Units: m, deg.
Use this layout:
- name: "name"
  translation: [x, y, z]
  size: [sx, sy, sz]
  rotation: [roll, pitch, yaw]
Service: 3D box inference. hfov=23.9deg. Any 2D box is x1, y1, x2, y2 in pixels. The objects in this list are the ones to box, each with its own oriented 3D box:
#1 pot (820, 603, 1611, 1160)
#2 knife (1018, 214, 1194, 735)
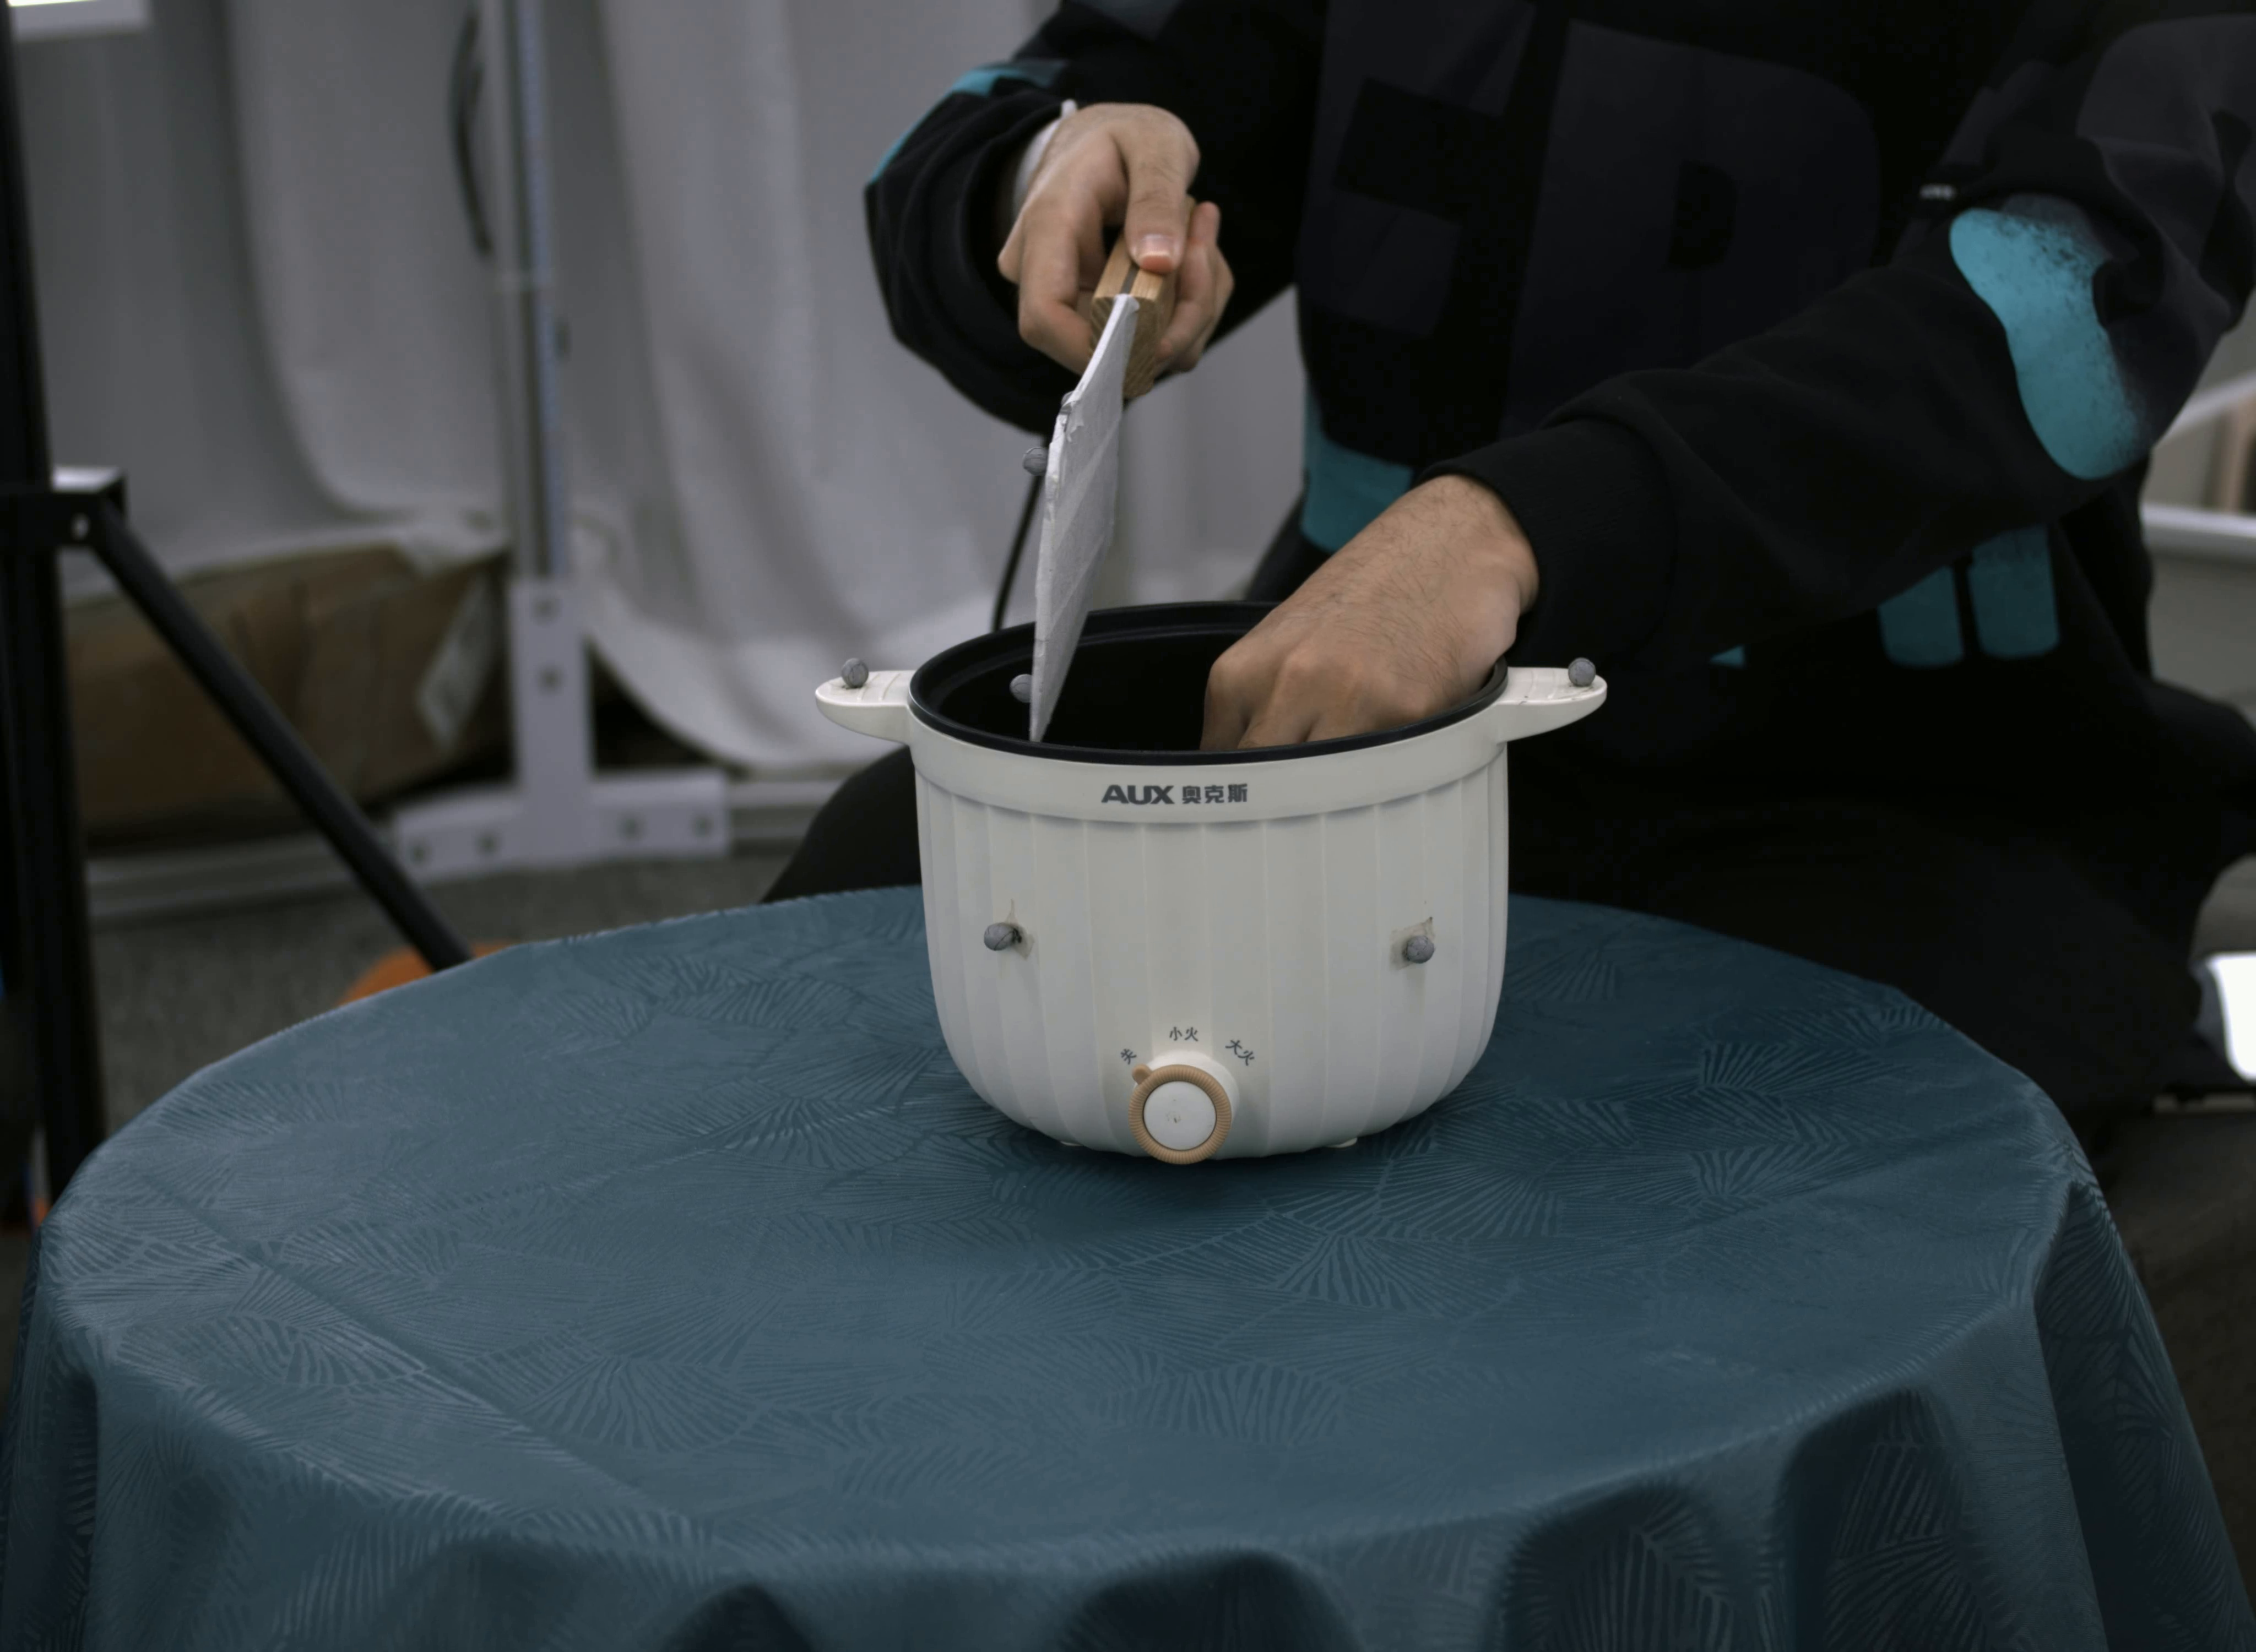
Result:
- name: "pot"
  translation: [0.028, 0.019, 1.612]
  size: [0.241, 0.143, 0.190]
  rotation: [-1, 12, 9]
- name: "knife"
  translation: [-0.007, -0.127, 1.665]
  size: [0.022, 0.114, 0.315]
  rotation: [7, 26, 4]
